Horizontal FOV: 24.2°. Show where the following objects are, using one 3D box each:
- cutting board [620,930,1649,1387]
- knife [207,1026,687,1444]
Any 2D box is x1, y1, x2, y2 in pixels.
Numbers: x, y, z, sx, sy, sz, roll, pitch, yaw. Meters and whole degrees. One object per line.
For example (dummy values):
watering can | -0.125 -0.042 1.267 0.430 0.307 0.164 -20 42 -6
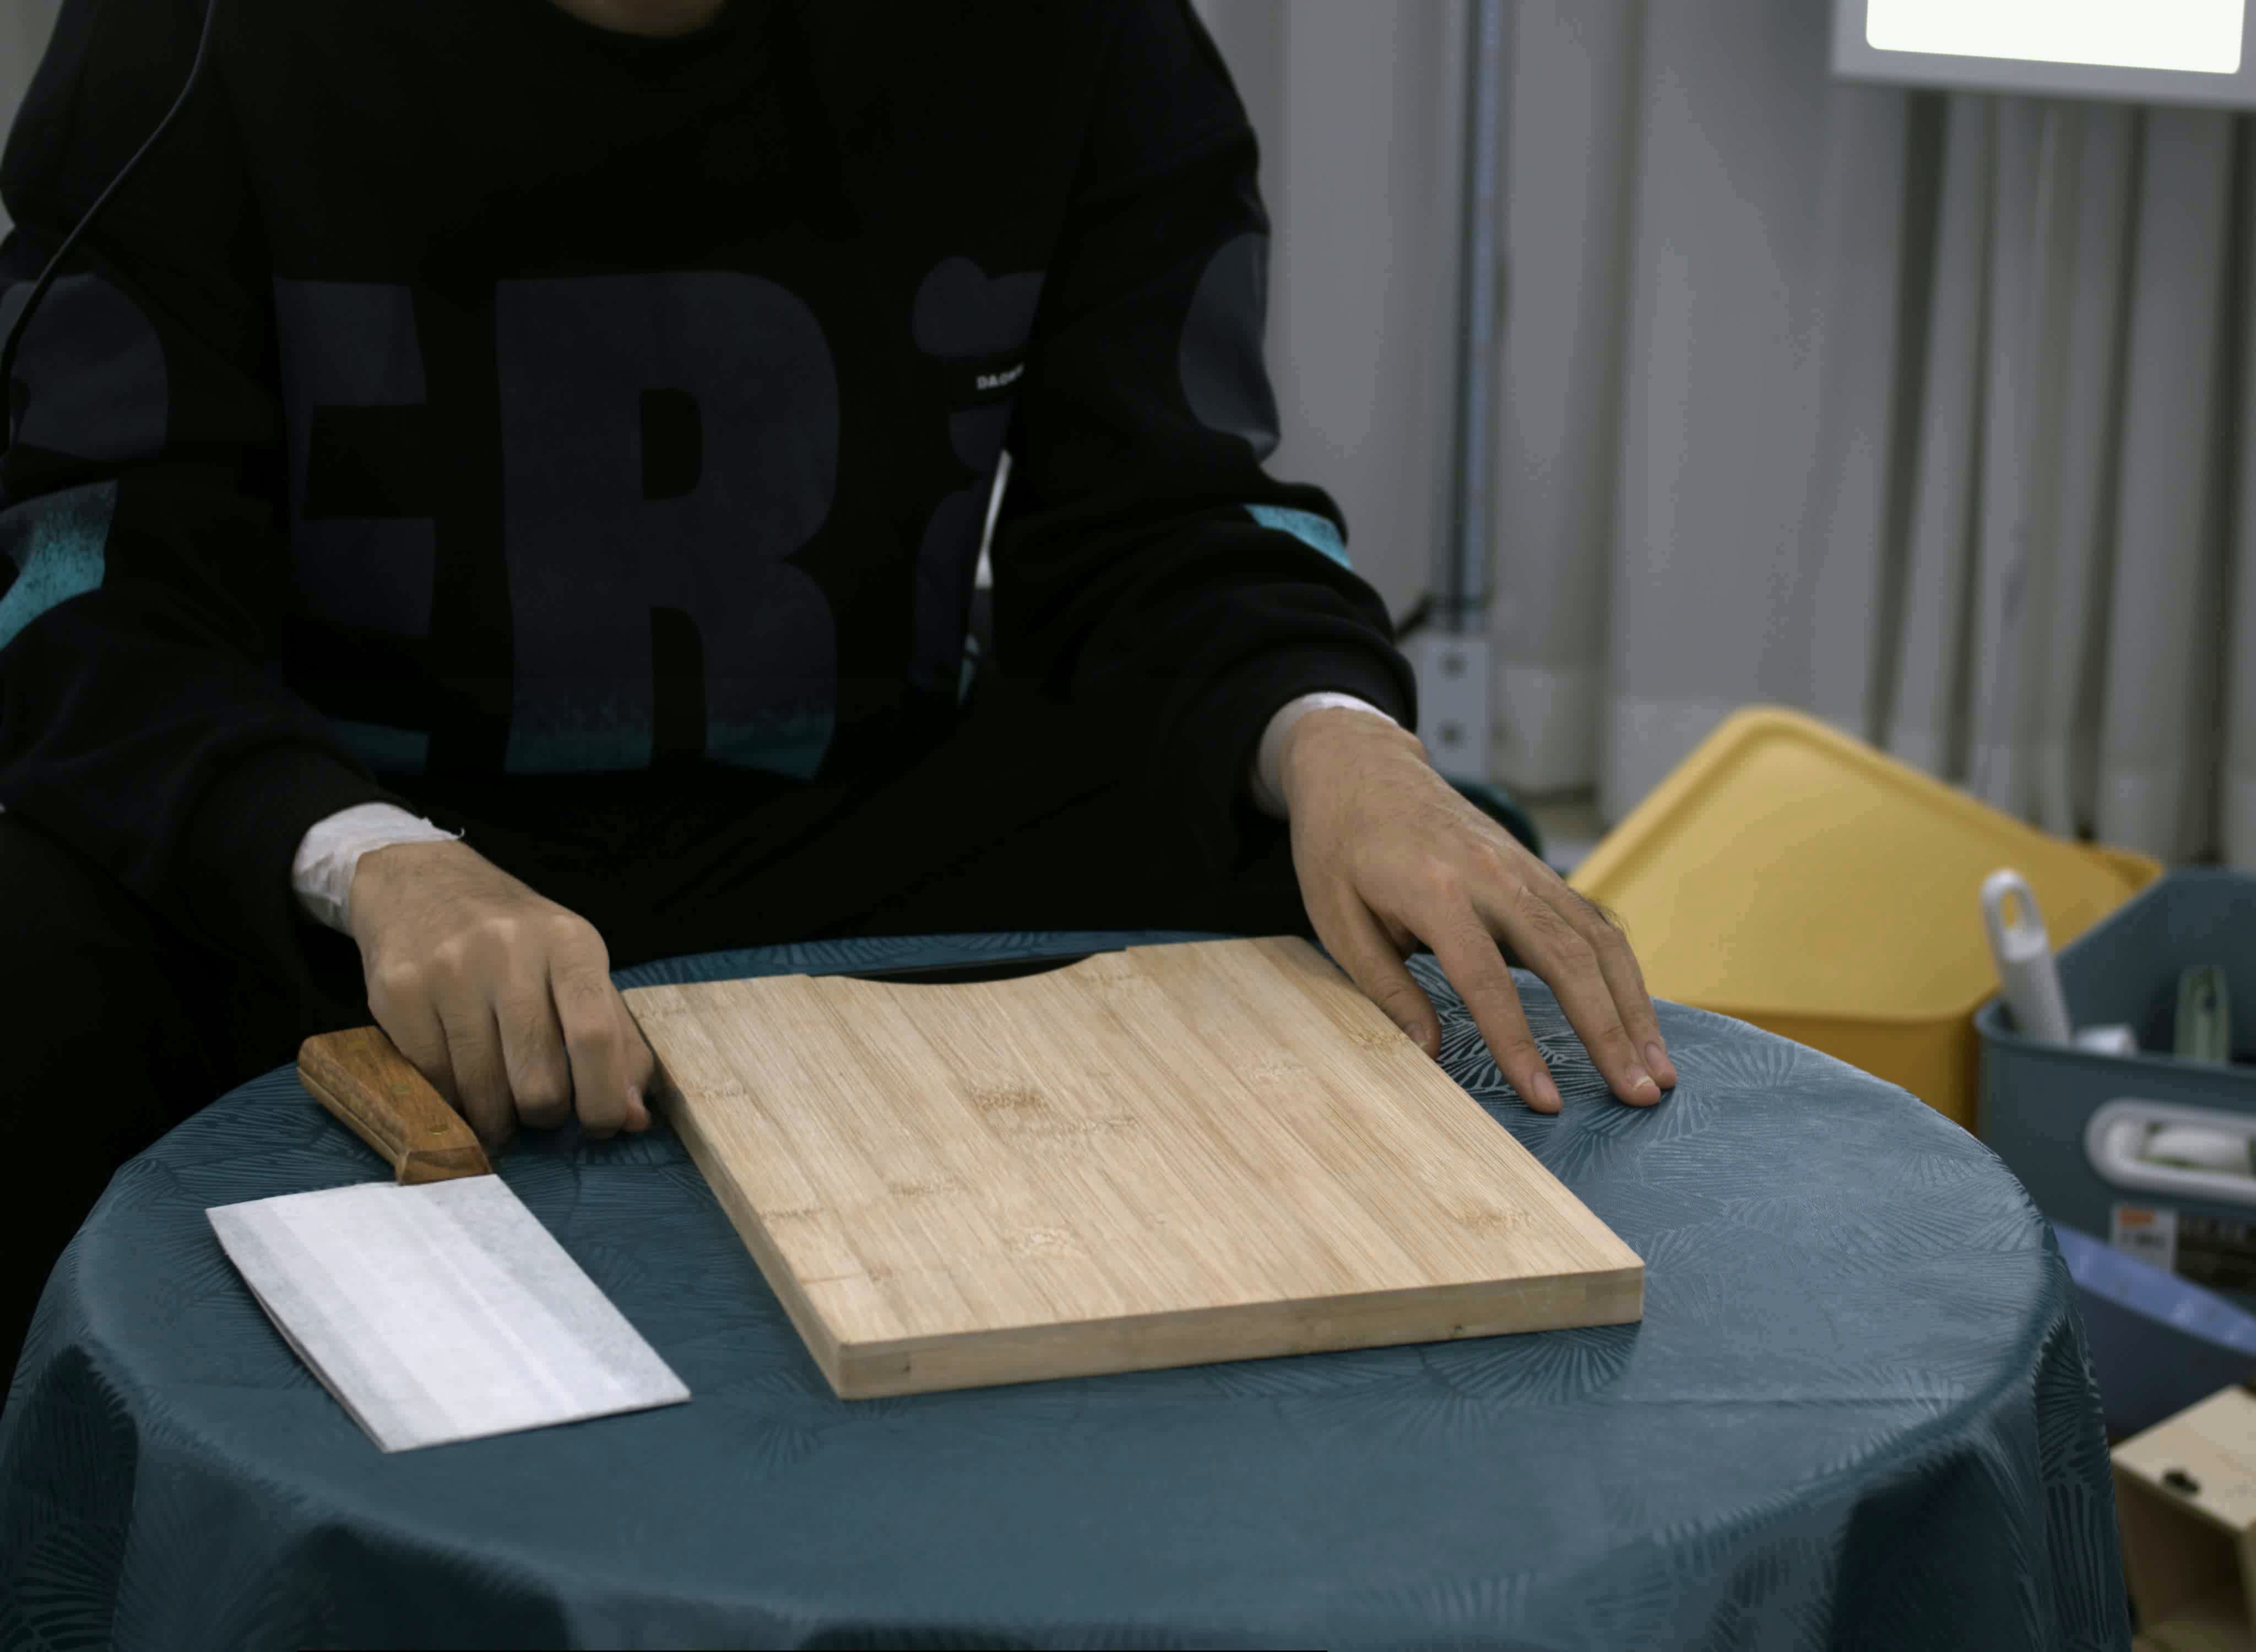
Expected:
cutting board | -0.010 0.098 1.644 0.251 0.024 0.345 -4 16 -16
knife | -0.220 0.120 1.562 0.093 0.021 0.302 -8 20 -23
